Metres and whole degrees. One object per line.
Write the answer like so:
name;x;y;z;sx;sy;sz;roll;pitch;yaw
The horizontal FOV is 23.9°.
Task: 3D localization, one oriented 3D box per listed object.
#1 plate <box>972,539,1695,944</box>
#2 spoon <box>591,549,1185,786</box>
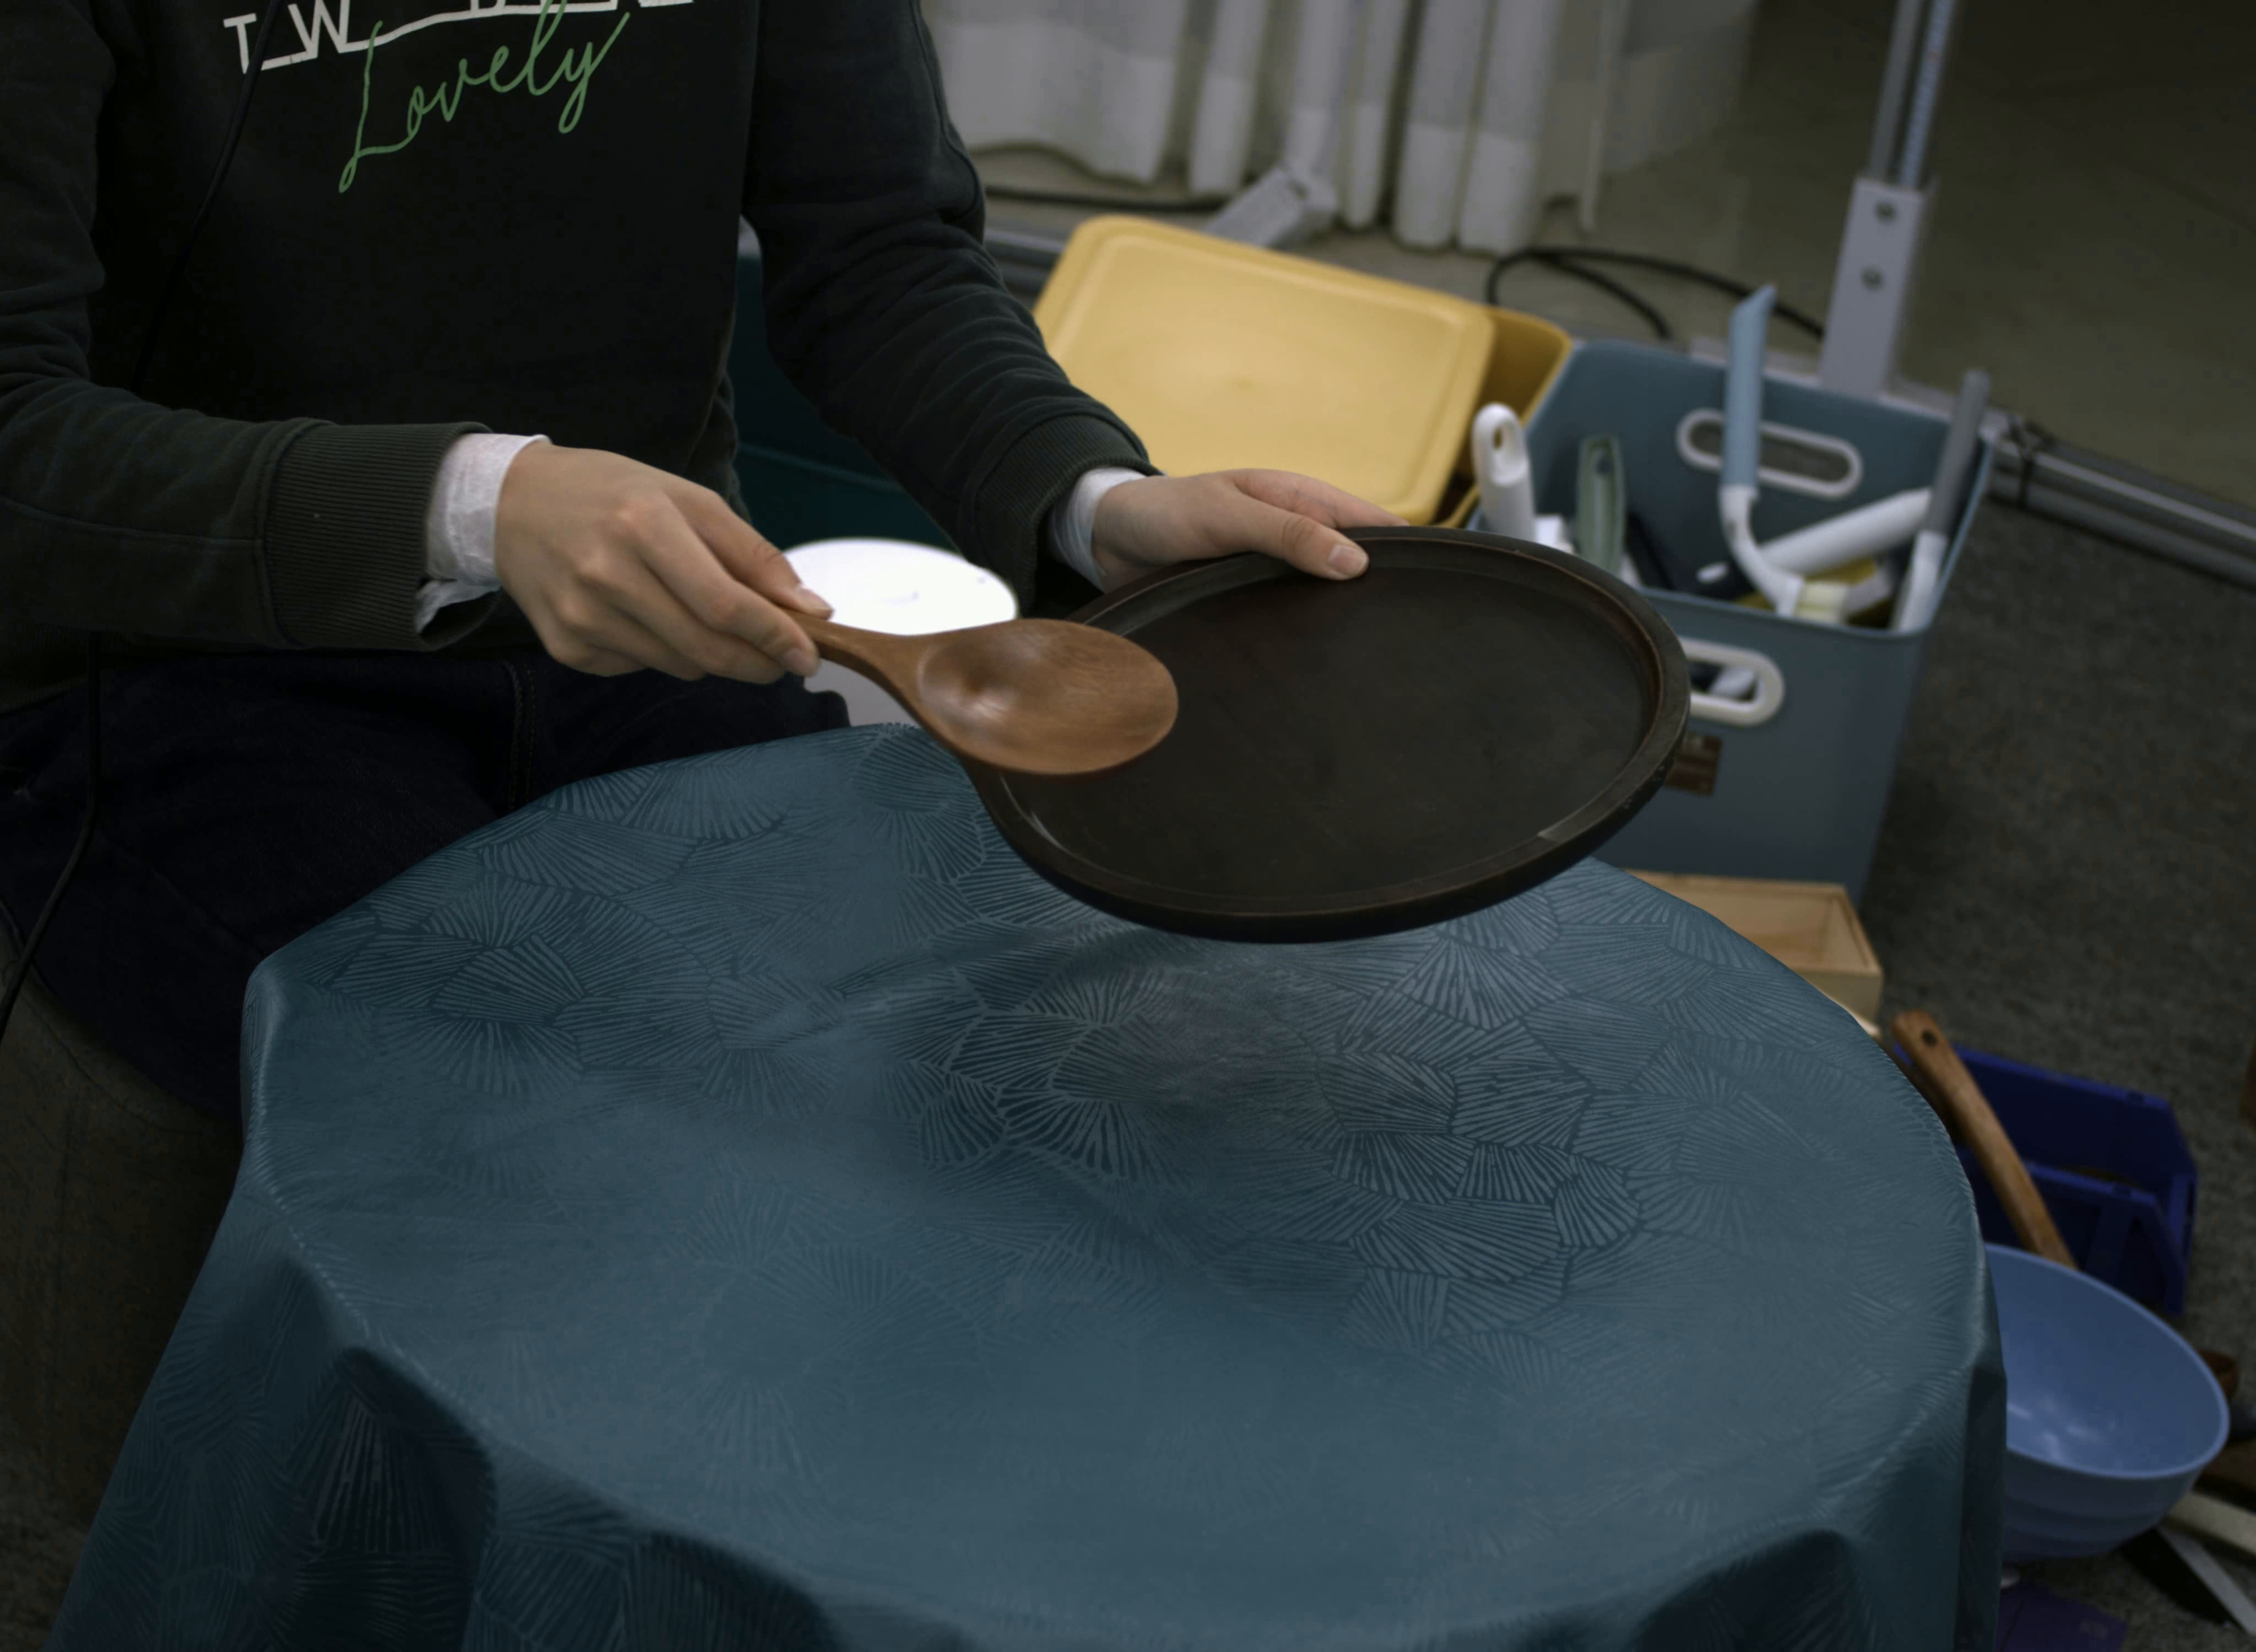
plate;0.072;-0.032;1.863;0.254;0.029;0.256;-6;32;3
spoon;-0.082;-0.057;1.766;0.216;0.017;0.075;17;48;20
